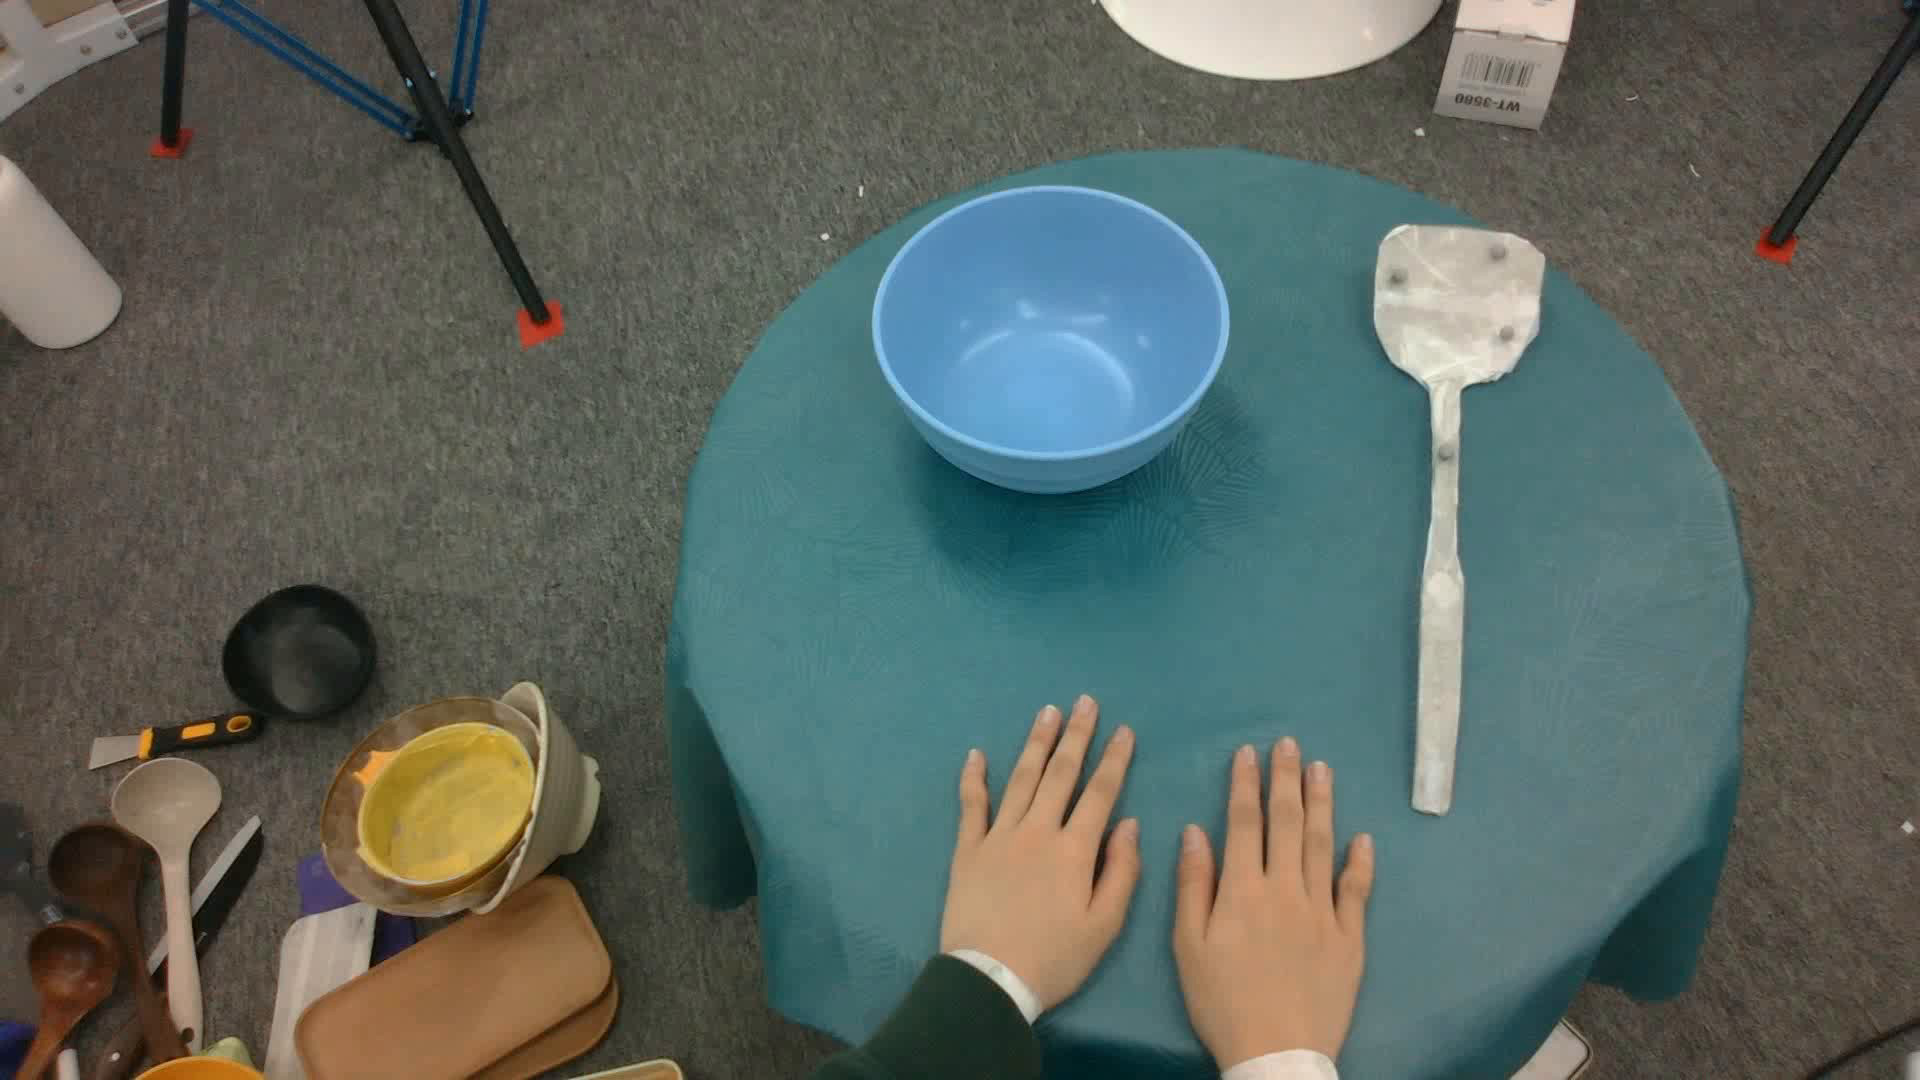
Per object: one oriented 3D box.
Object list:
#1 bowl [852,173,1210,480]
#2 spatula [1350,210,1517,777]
[{"bbox_3d":[0.039,-0.108,0.794,0.196,0.095,0.197,0,58,0],"label":"bowl"},{"bbox_3d":[0.258,-0.039,0.777,0.098,0.044,0.366,11,59,7],"label":"spatula"}]
